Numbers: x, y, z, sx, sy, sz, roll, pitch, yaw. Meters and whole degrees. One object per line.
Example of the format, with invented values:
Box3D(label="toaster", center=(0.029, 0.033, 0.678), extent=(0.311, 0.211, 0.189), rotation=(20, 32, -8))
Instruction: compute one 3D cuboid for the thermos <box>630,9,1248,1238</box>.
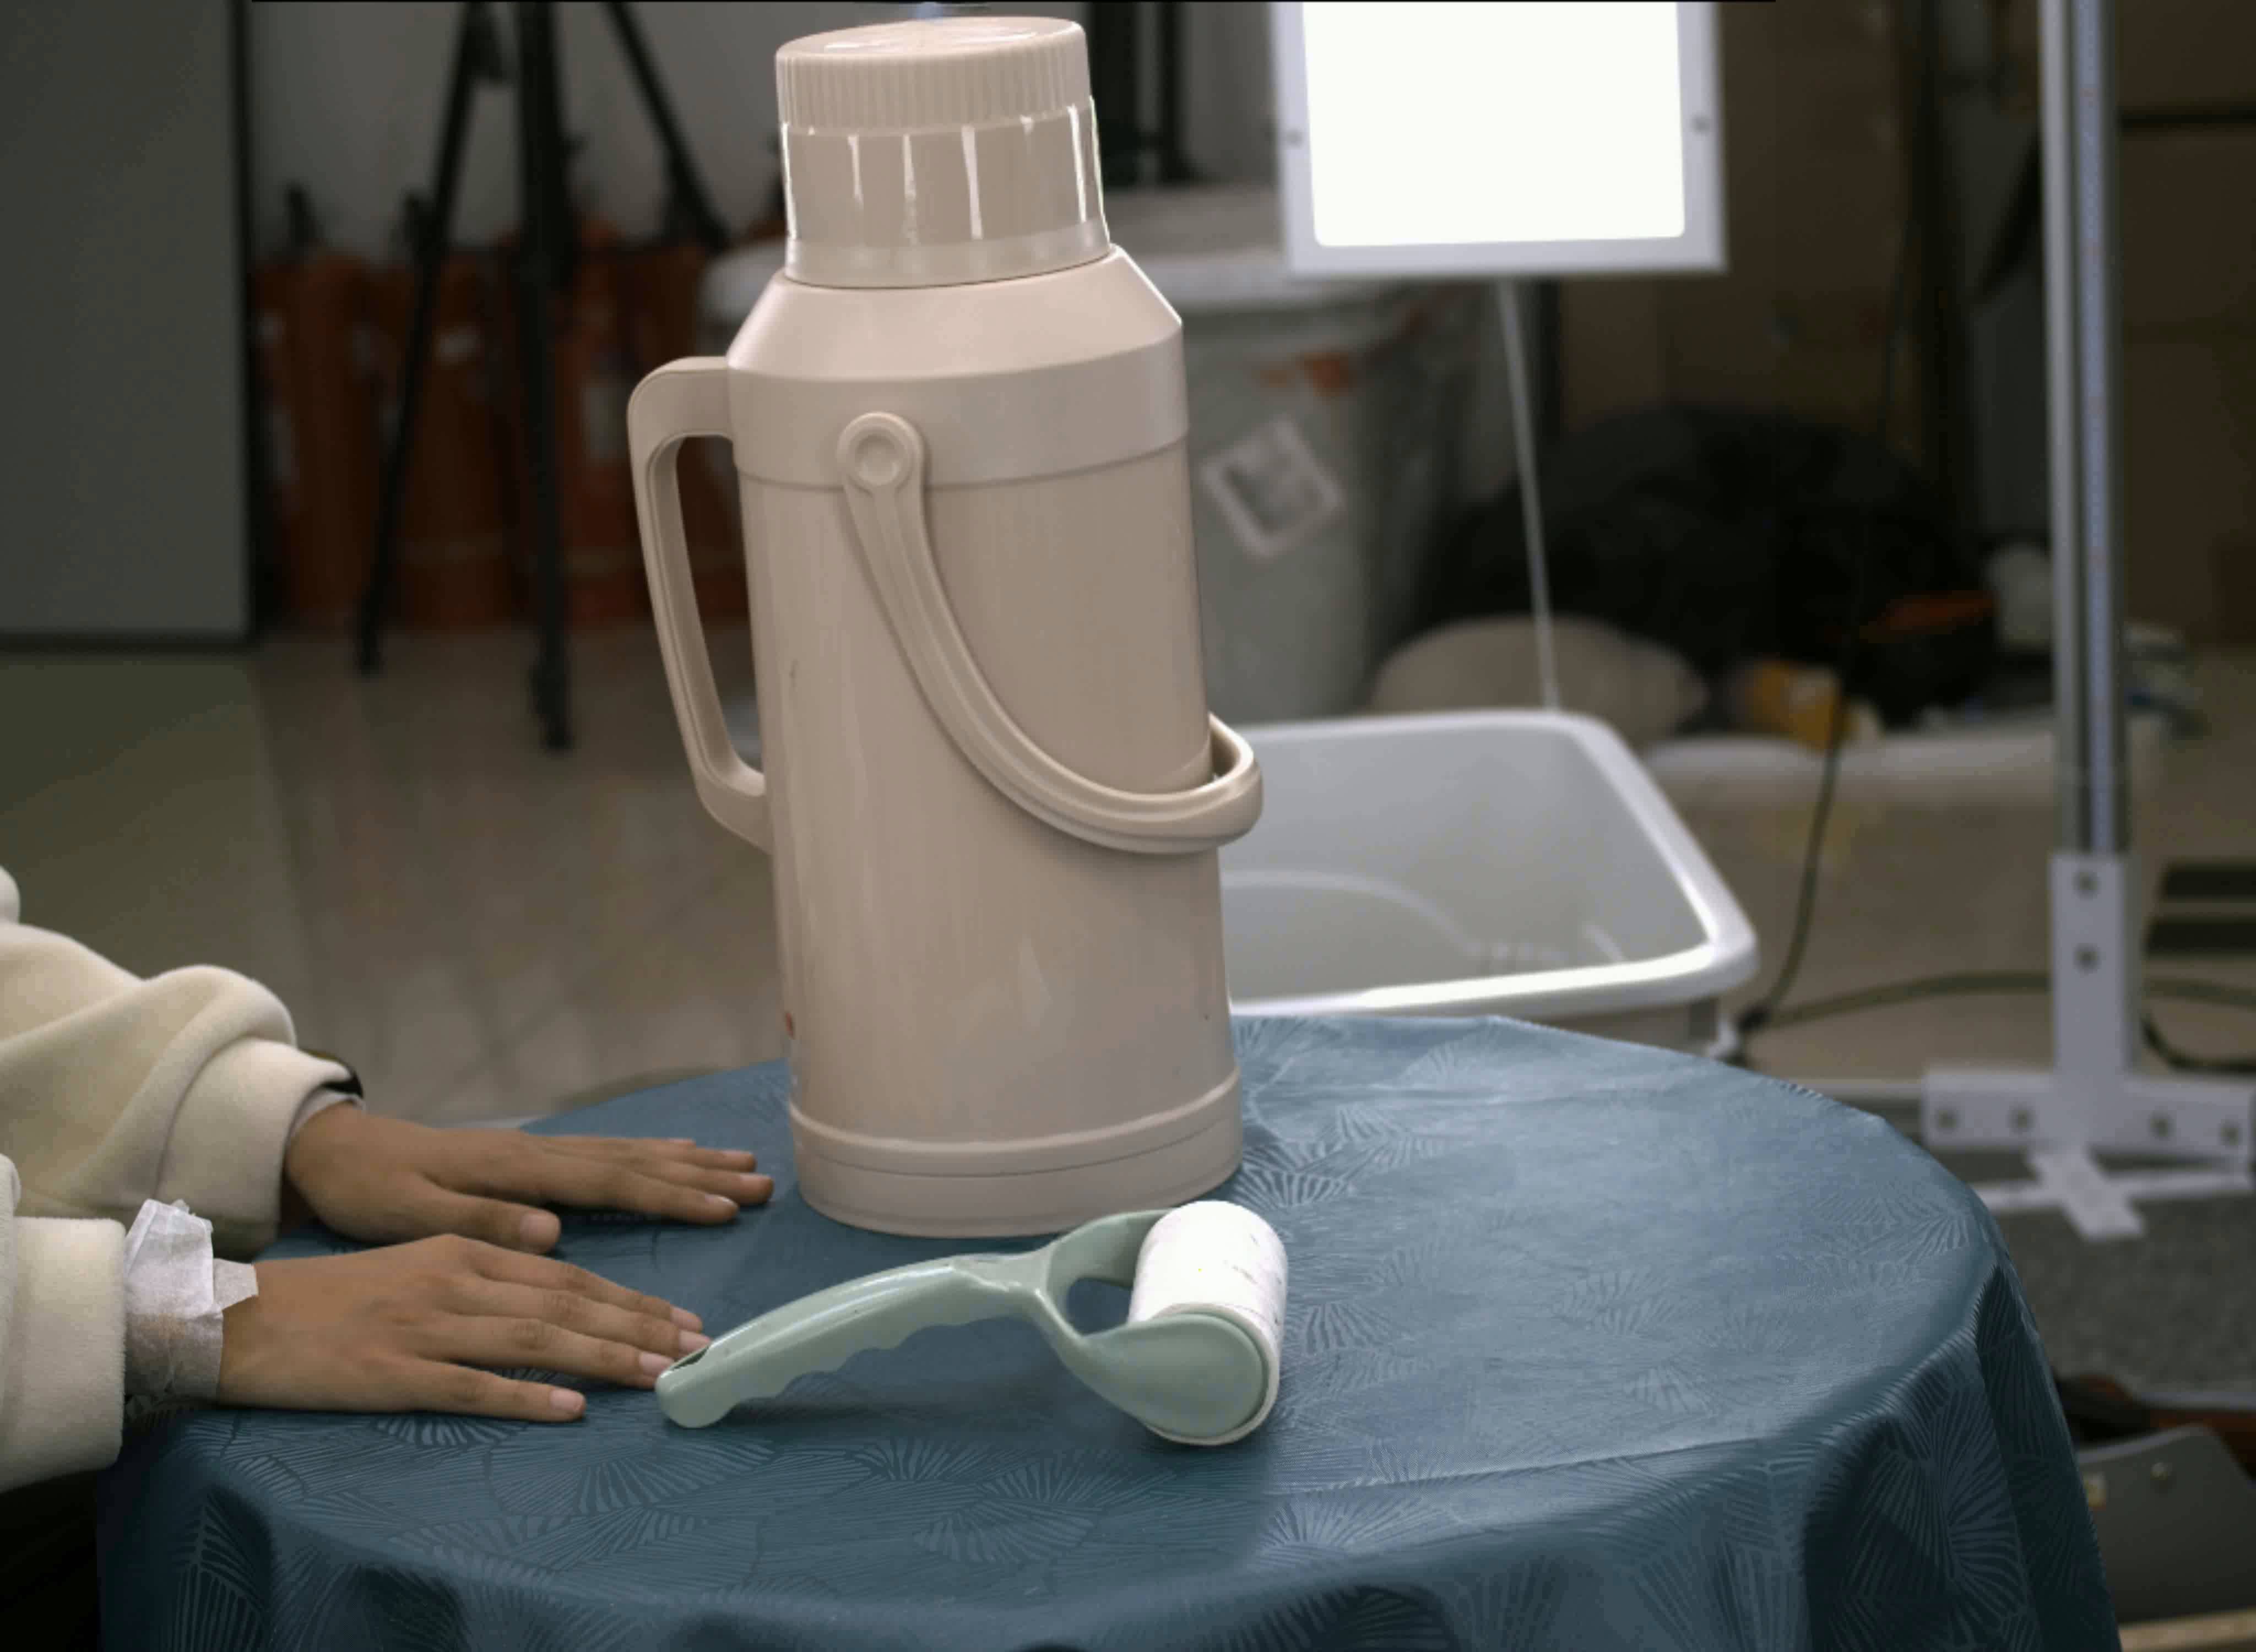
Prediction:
Box3D(label="thermos", center=(-0.065, -0.071, 1.893), extent=(0.209, 0.408, 0.172), rotation=(0, 15, 18))

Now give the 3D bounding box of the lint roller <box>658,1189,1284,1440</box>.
Box3D(label="lint roller", center=(-0.048, 0.154, 1.706), extent=(0.198, 0.049, 0.116), rotation=(-3, 16, 6))
